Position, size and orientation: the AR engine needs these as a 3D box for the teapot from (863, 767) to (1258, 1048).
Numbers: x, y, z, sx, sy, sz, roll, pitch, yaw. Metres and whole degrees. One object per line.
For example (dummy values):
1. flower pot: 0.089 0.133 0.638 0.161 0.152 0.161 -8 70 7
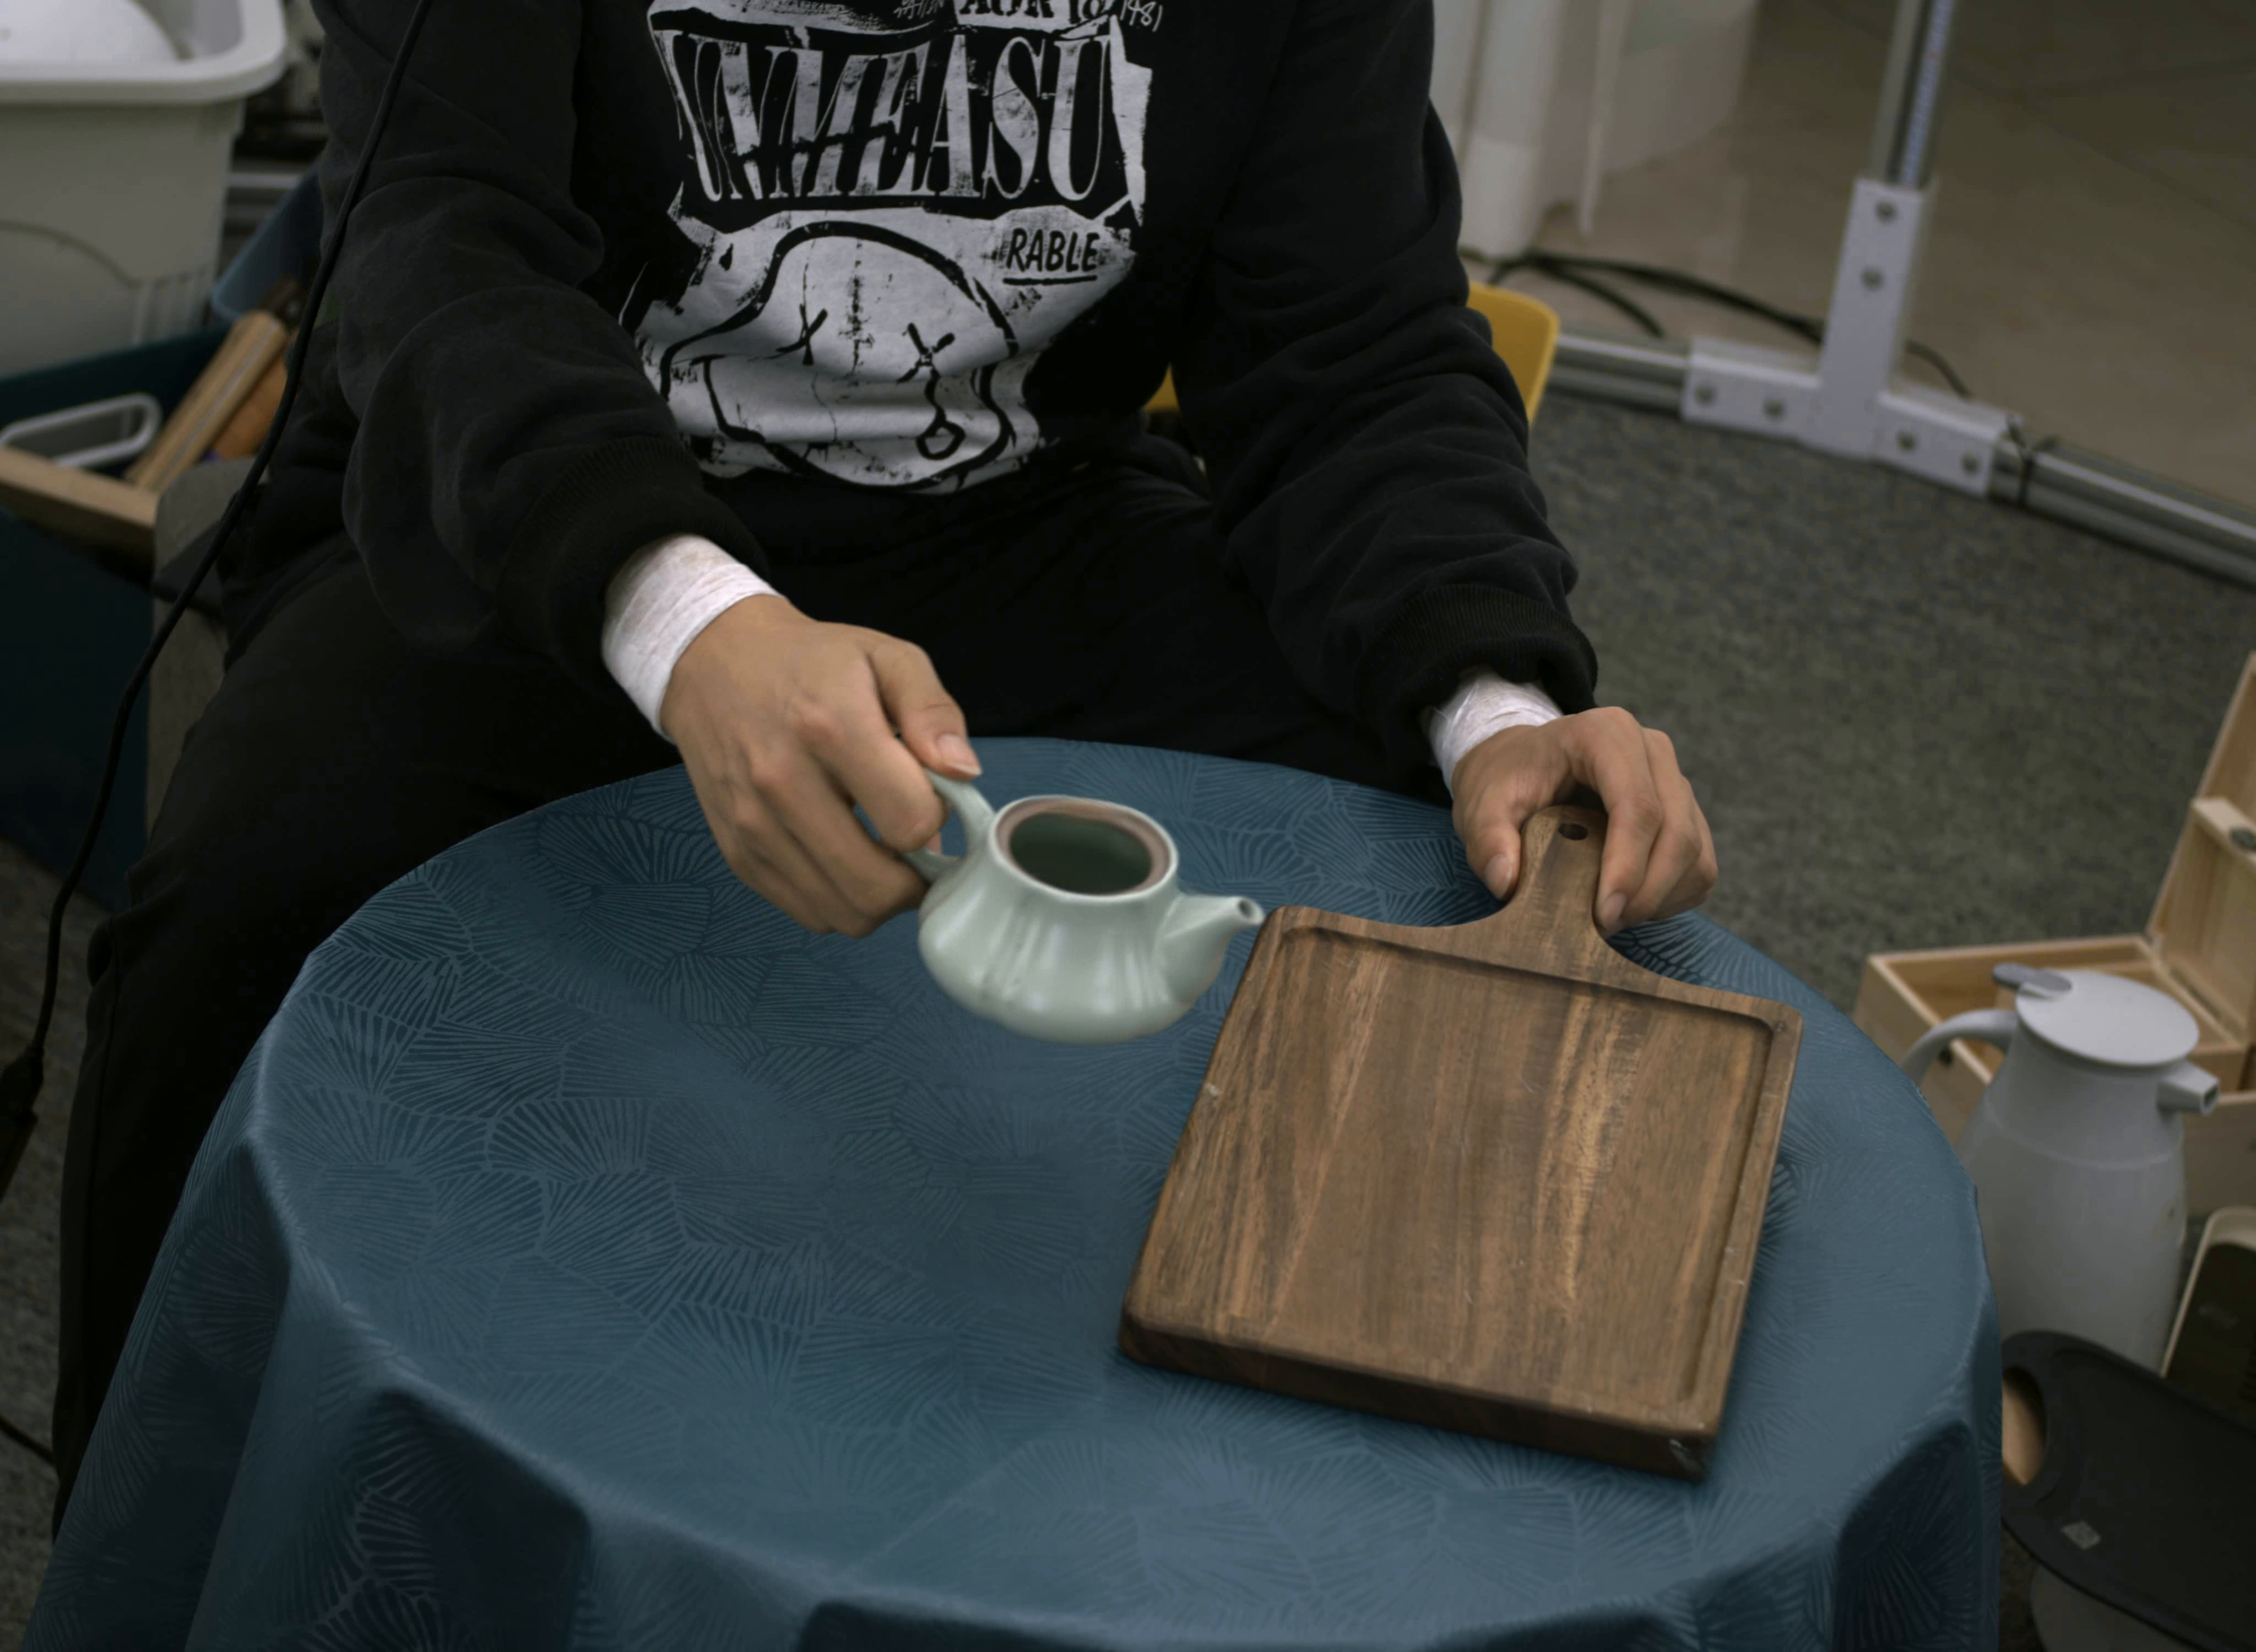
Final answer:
1. teapot: -0.026 0.026 1.727 0.137 0.061 0.096 22 37 15

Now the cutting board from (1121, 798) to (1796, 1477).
1. cutting board: 0.126 0.091 1.832 0.201 0.023 0.353 11 34 8
